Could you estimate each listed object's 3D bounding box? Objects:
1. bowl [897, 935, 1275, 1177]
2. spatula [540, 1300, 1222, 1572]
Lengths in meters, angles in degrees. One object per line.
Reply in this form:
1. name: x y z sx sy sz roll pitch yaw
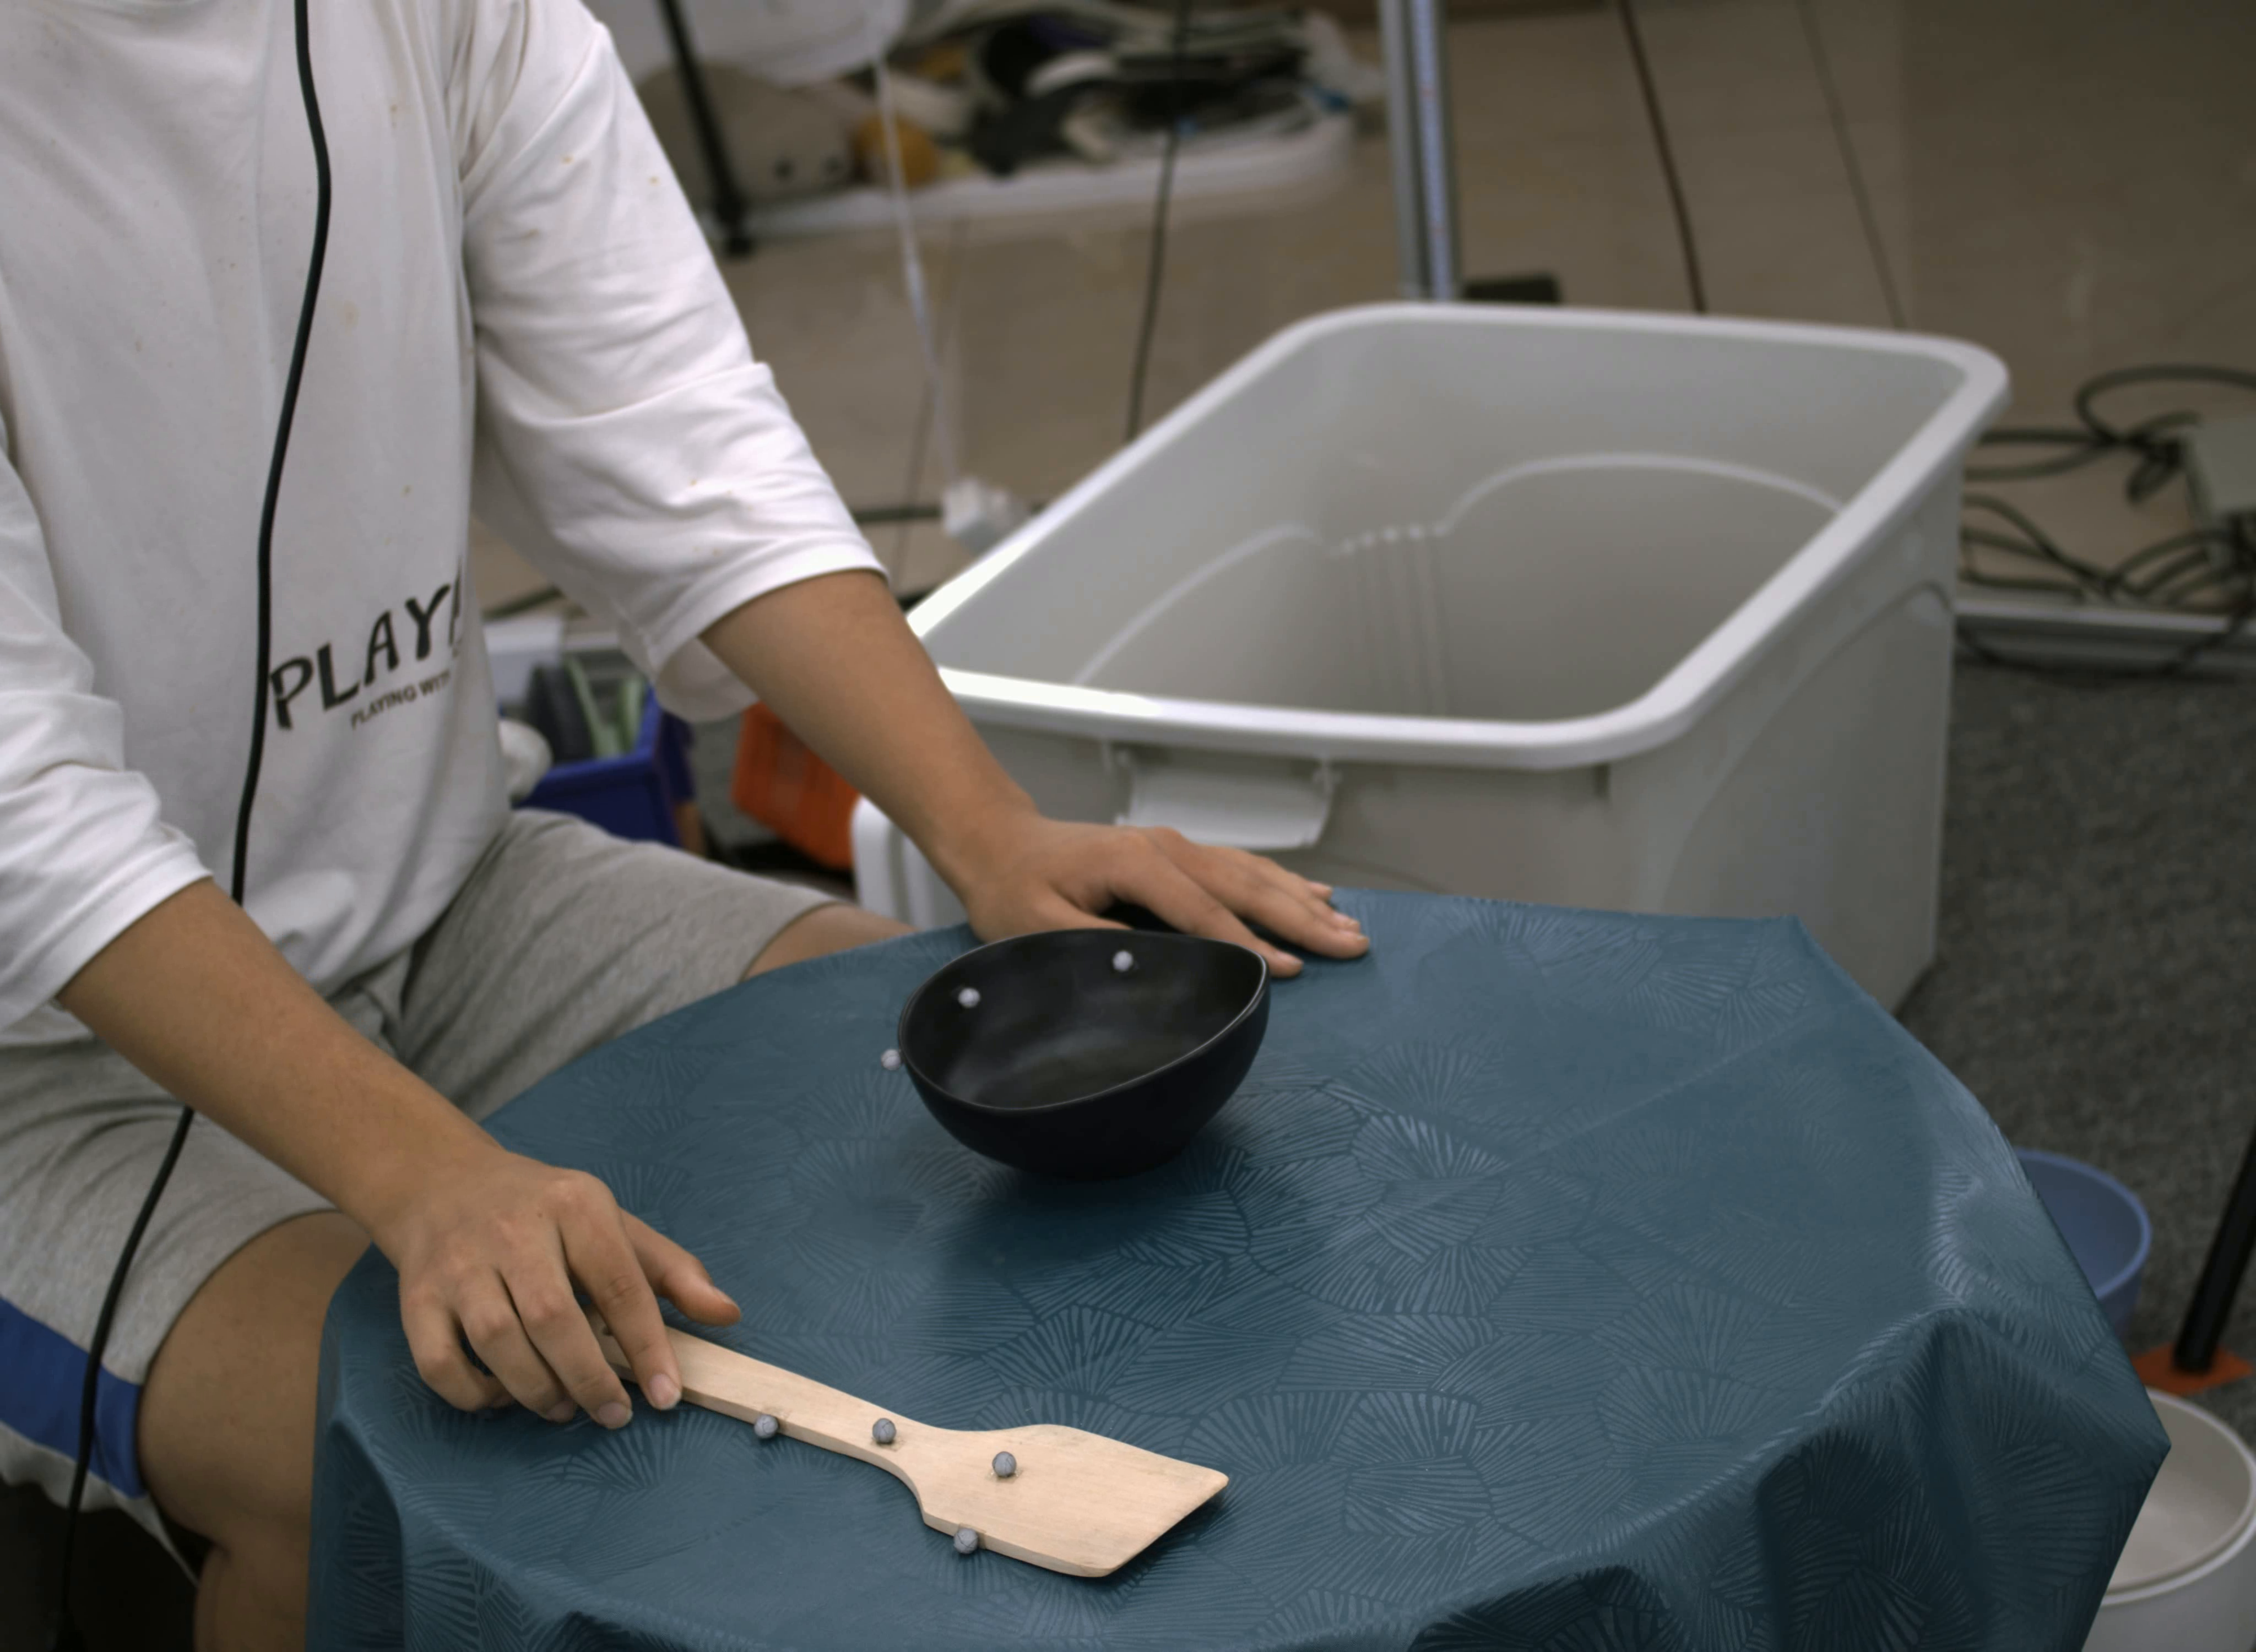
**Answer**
1. bowl: -0.013 0.092 2.174 0.137 0.068 0.168 6 26 26
2. spatula: -0.099 0.210 2.005 0.291 0.011 0.071 14 33 37
